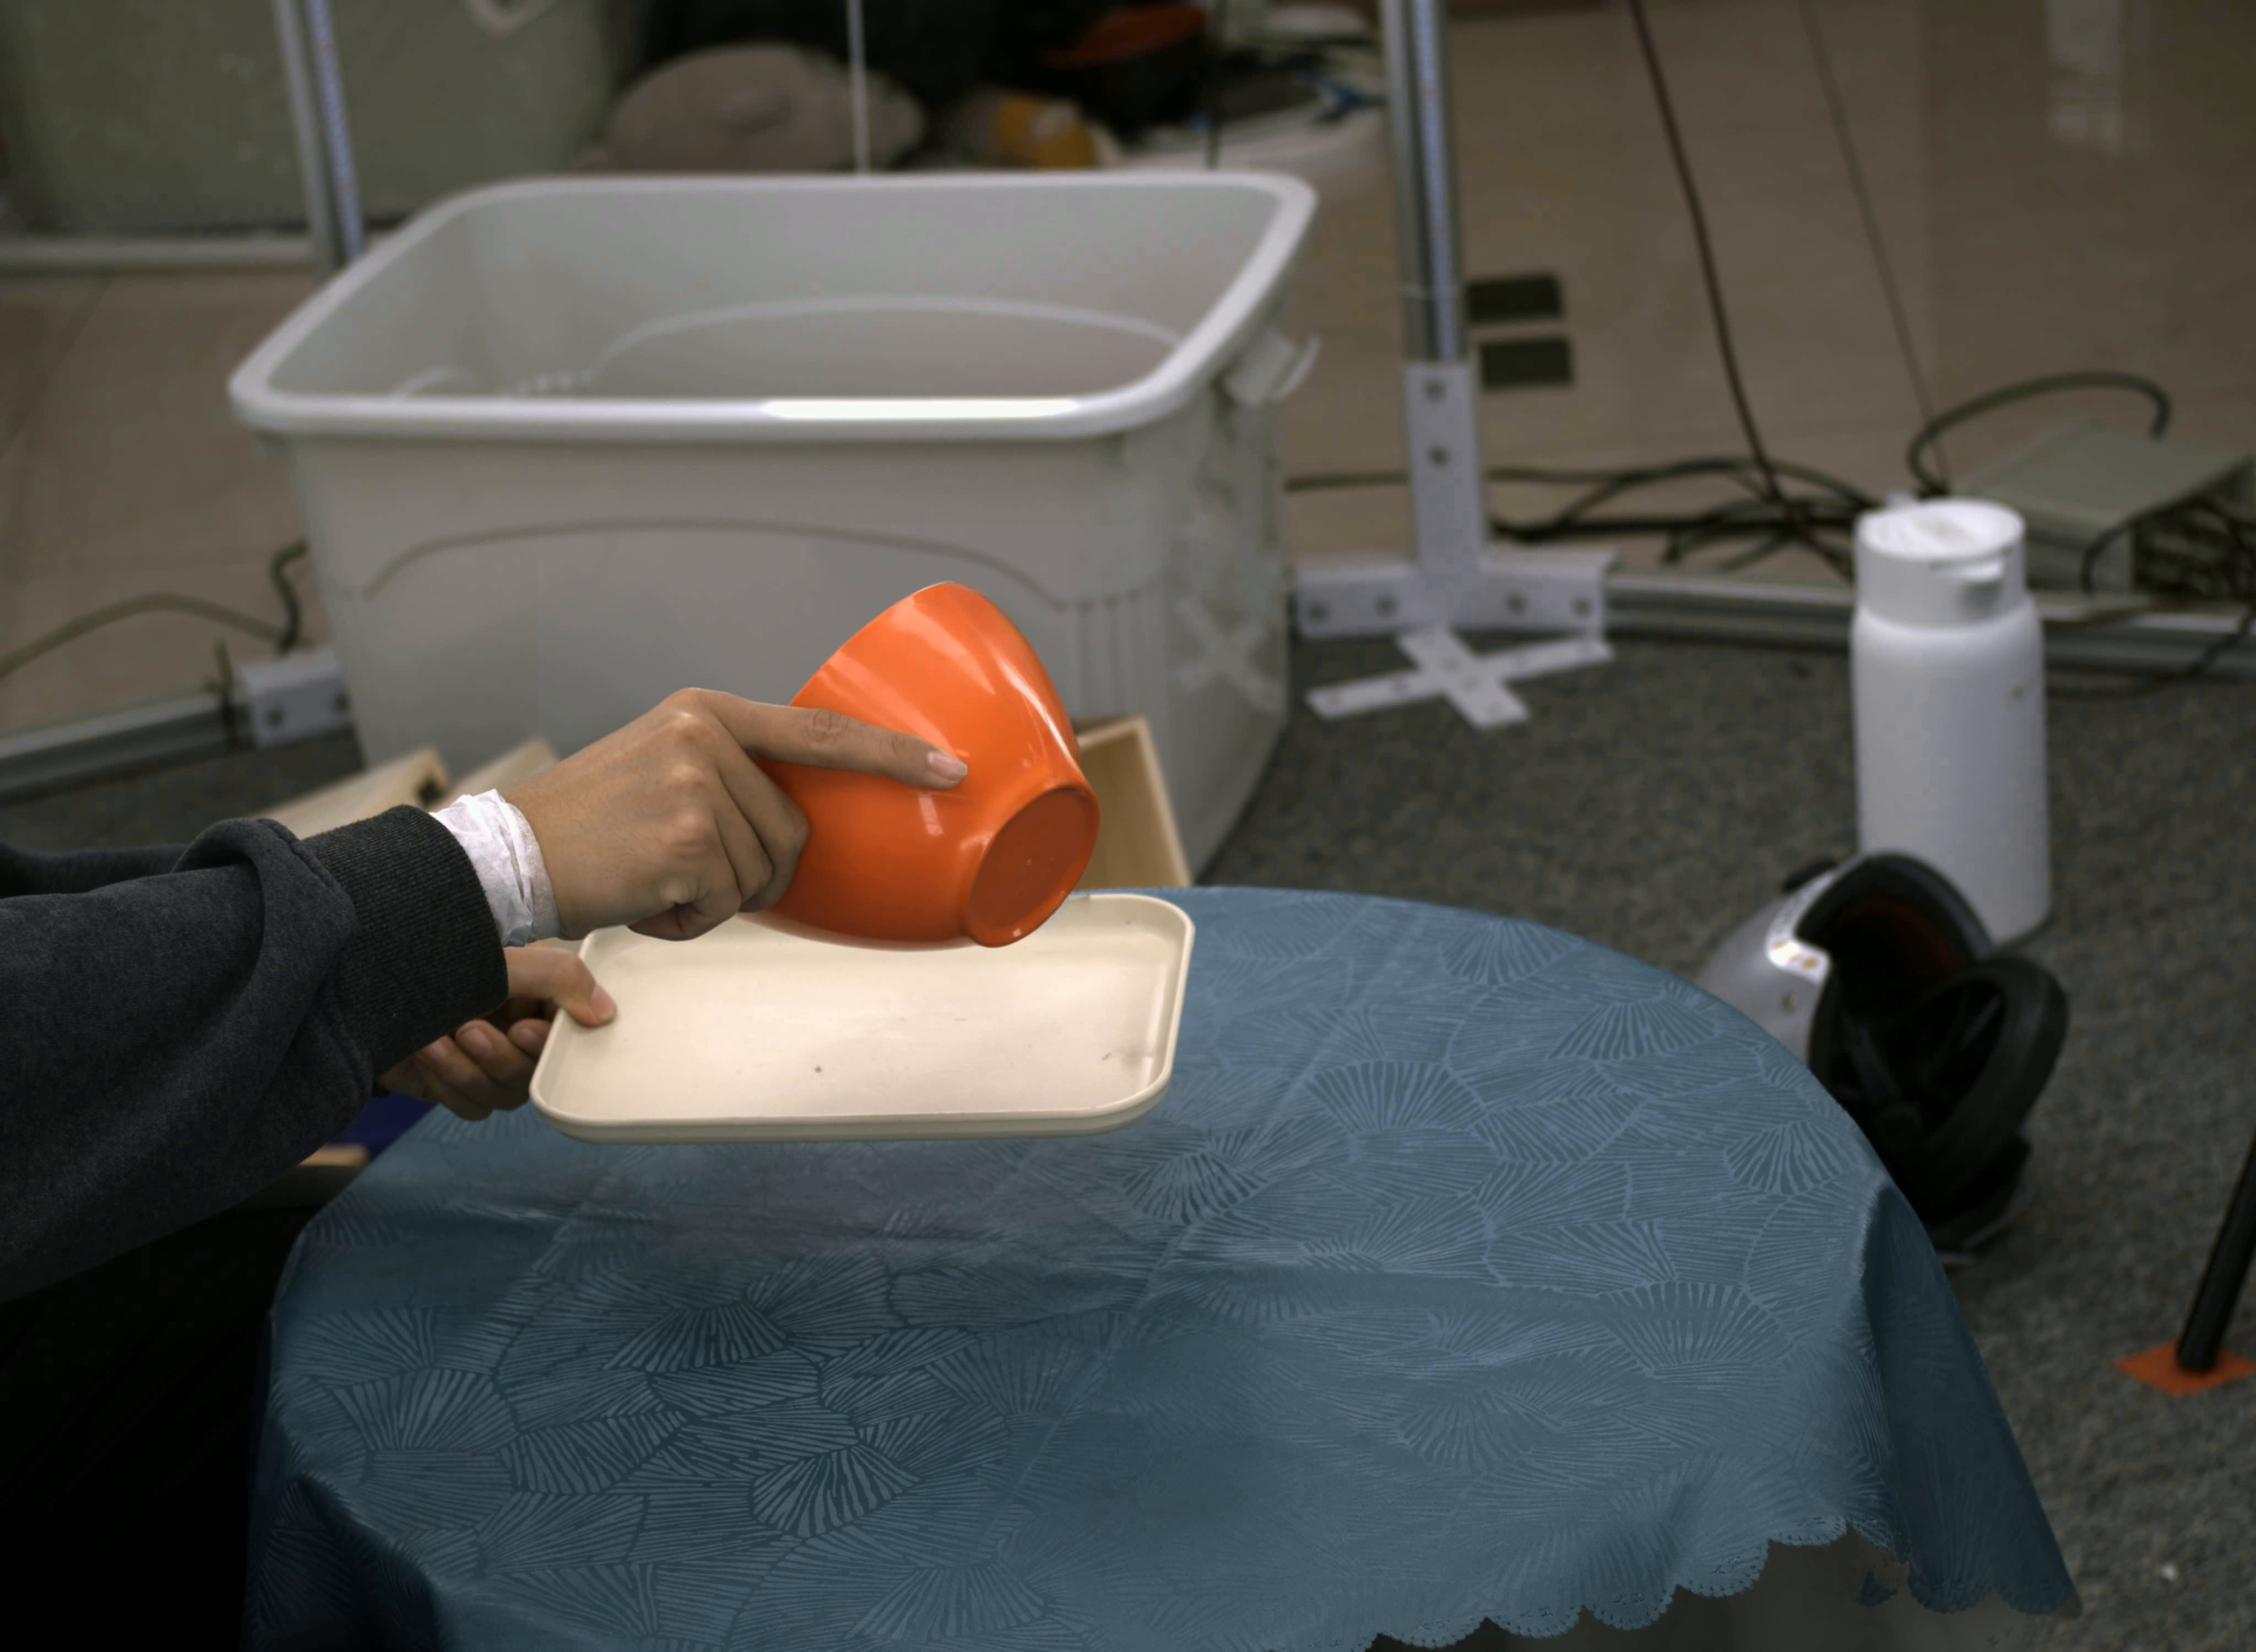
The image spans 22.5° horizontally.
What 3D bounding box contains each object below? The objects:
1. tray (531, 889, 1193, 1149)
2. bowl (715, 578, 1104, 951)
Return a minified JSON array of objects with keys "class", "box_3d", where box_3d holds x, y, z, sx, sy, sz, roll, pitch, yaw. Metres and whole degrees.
[{"class":"tray","box_3d":[-0.097,0.073,2.128,0.239,0.018,0.168,-2,28,6]},{"class":"bowl","box_3d":[-0.065,-0.007,1.984,0.103,0.151,0.147,36,44,28]}]
